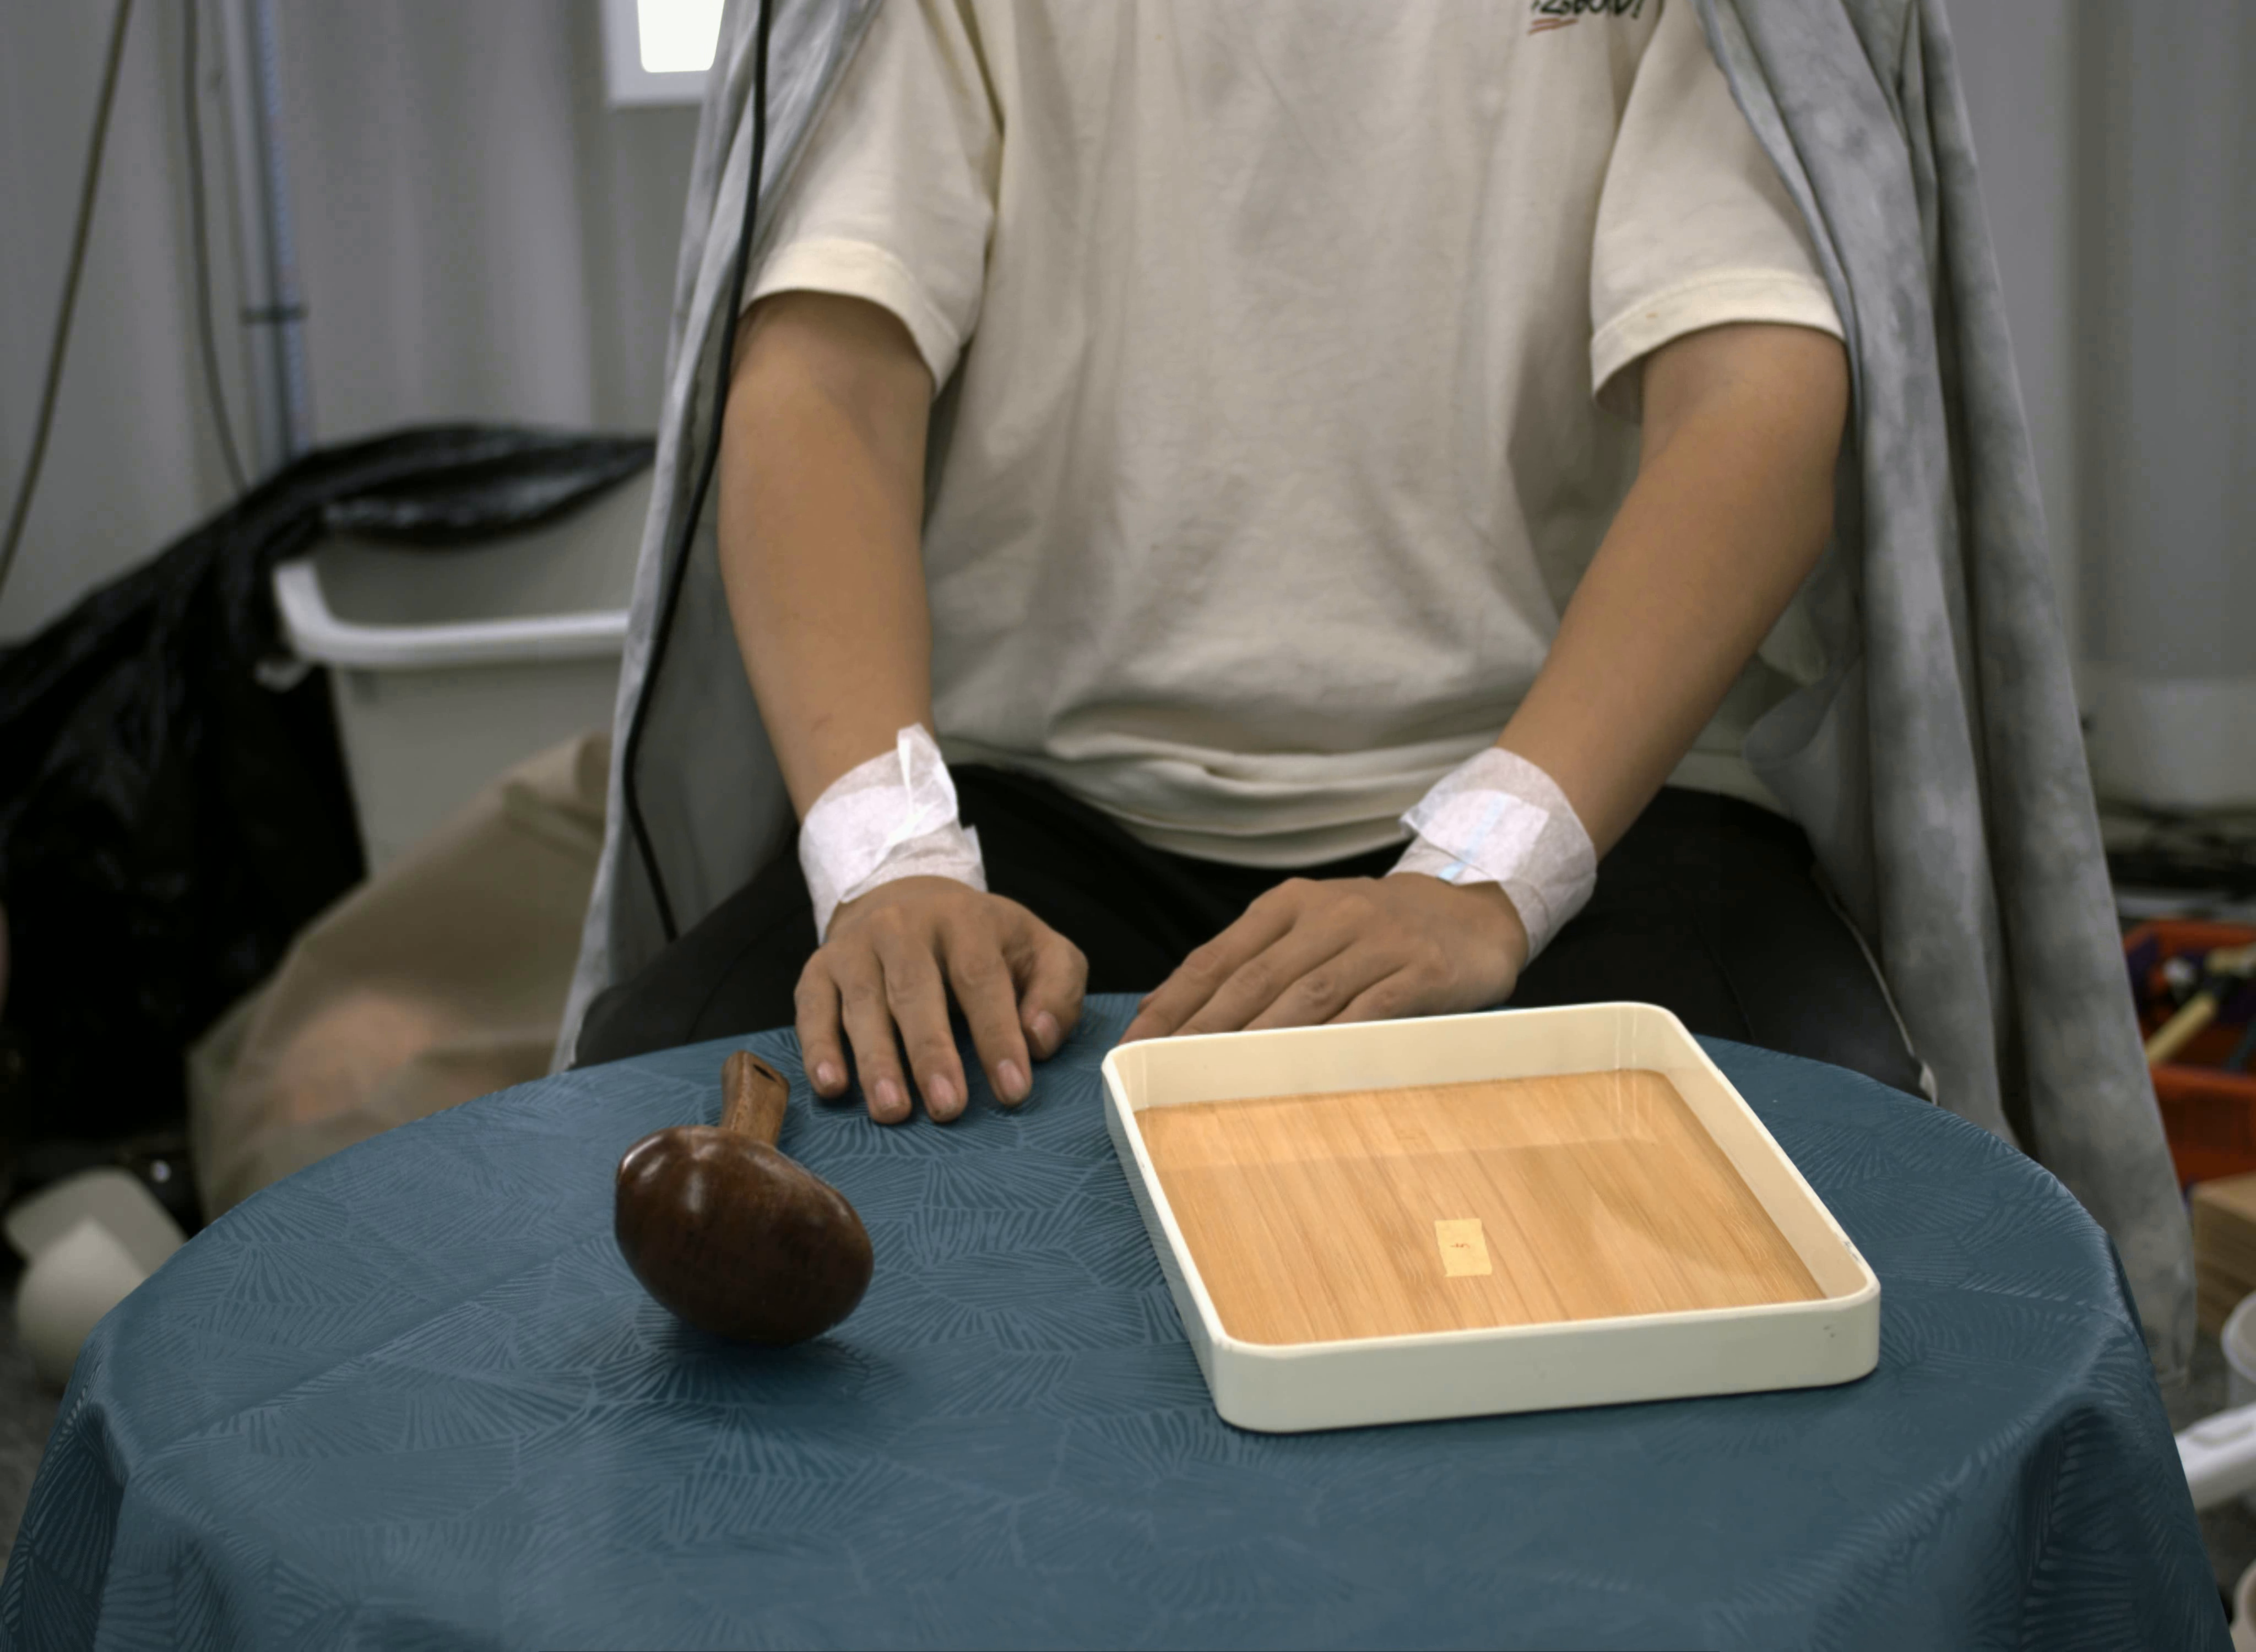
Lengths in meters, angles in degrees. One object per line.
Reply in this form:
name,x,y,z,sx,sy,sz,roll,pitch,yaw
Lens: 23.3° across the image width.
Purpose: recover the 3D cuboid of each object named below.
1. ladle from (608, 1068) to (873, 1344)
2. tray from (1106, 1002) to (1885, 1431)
ladle,-0.109,0.094,1.684,0.081,0.076,0.275,38,13,-6
tray,0.103,0.114,1.653,0.191,0.027,0.302,-4,15,-6
